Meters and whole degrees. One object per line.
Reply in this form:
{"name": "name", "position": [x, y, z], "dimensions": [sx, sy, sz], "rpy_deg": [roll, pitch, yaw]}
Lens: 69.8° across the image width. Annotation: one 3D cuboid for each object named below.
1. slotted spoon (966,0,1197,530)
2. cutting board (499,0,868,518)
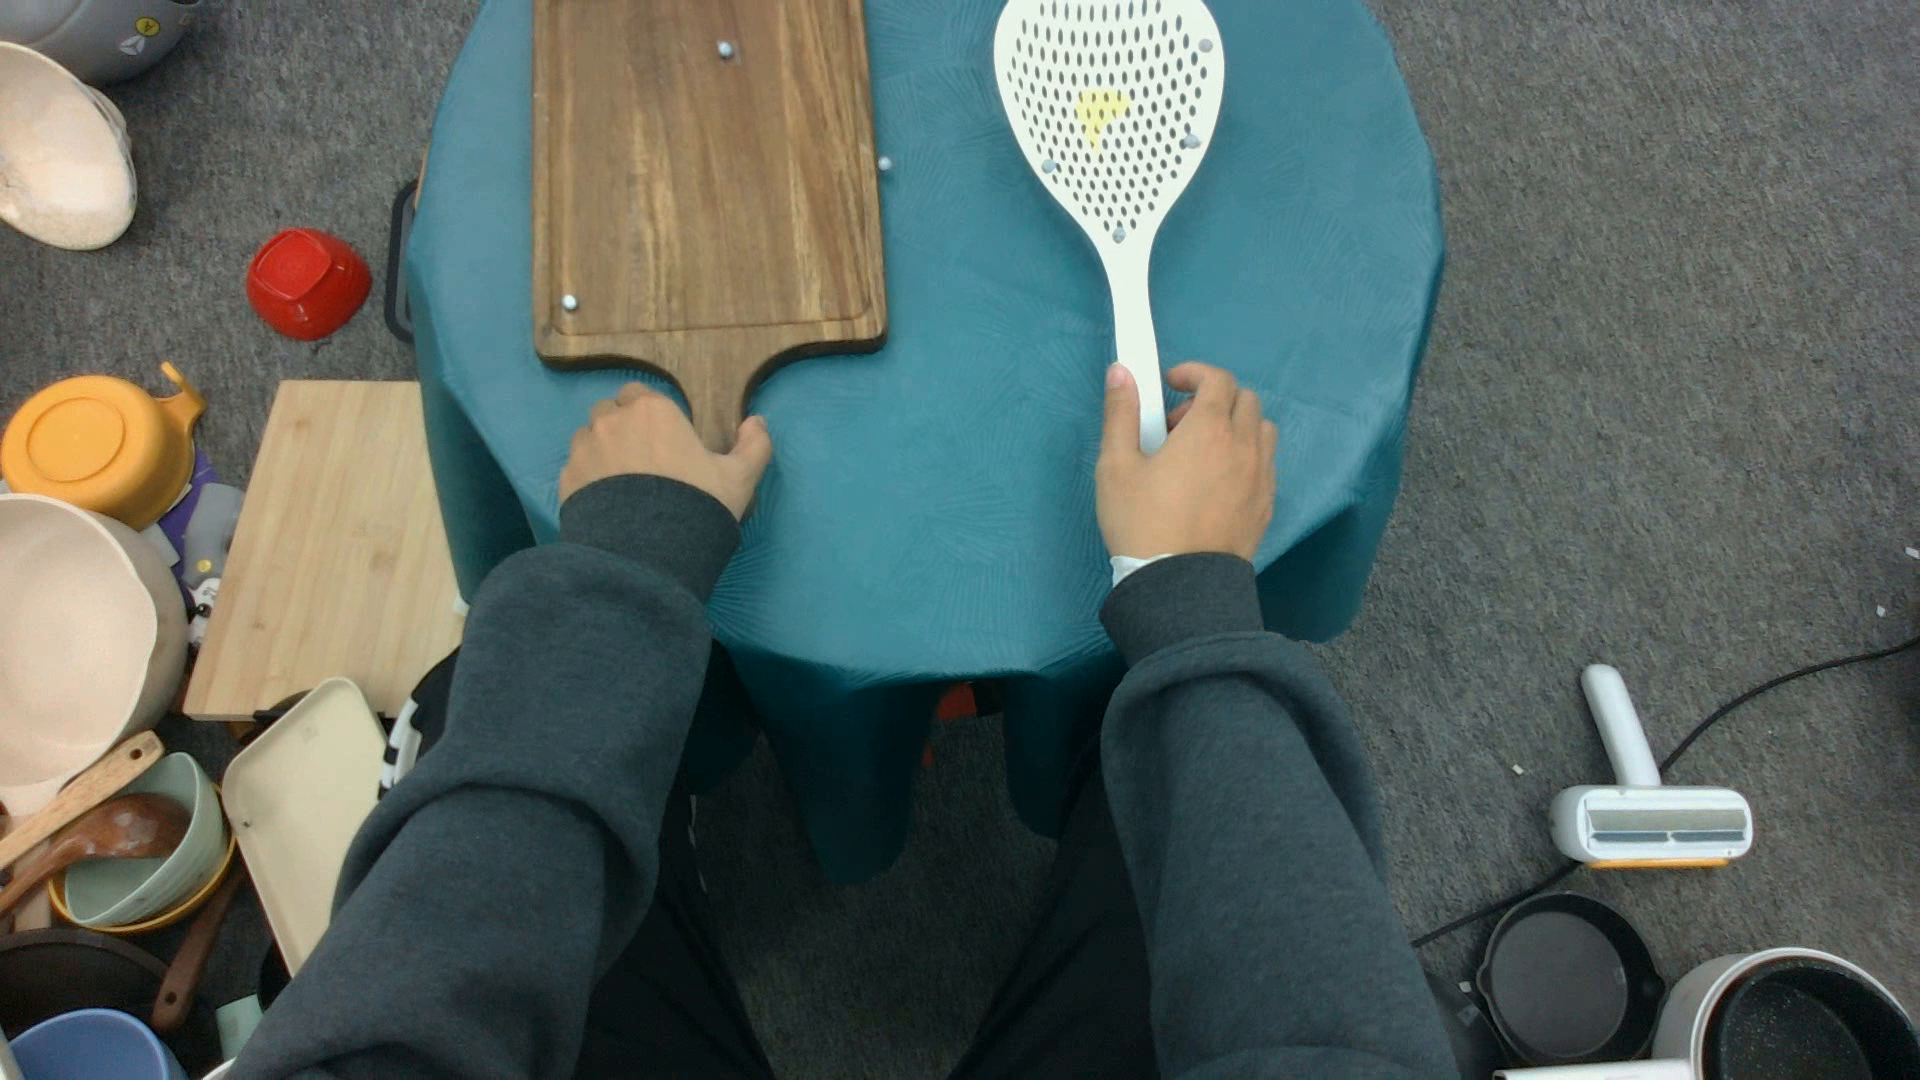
{"name": "slotted spoon", "position": [0.081, -0.177, 0.791], "dimensions": [0.137, 0.050, 0.348], "rpy_deg": [-4, 73, -7]}
{"name": "cutting board", "position": [-0.158, -0.181, 0.788], "dimensions": [0.201, 0.023, 0.353], "rpy_deg": [-5, 73, -4]}
